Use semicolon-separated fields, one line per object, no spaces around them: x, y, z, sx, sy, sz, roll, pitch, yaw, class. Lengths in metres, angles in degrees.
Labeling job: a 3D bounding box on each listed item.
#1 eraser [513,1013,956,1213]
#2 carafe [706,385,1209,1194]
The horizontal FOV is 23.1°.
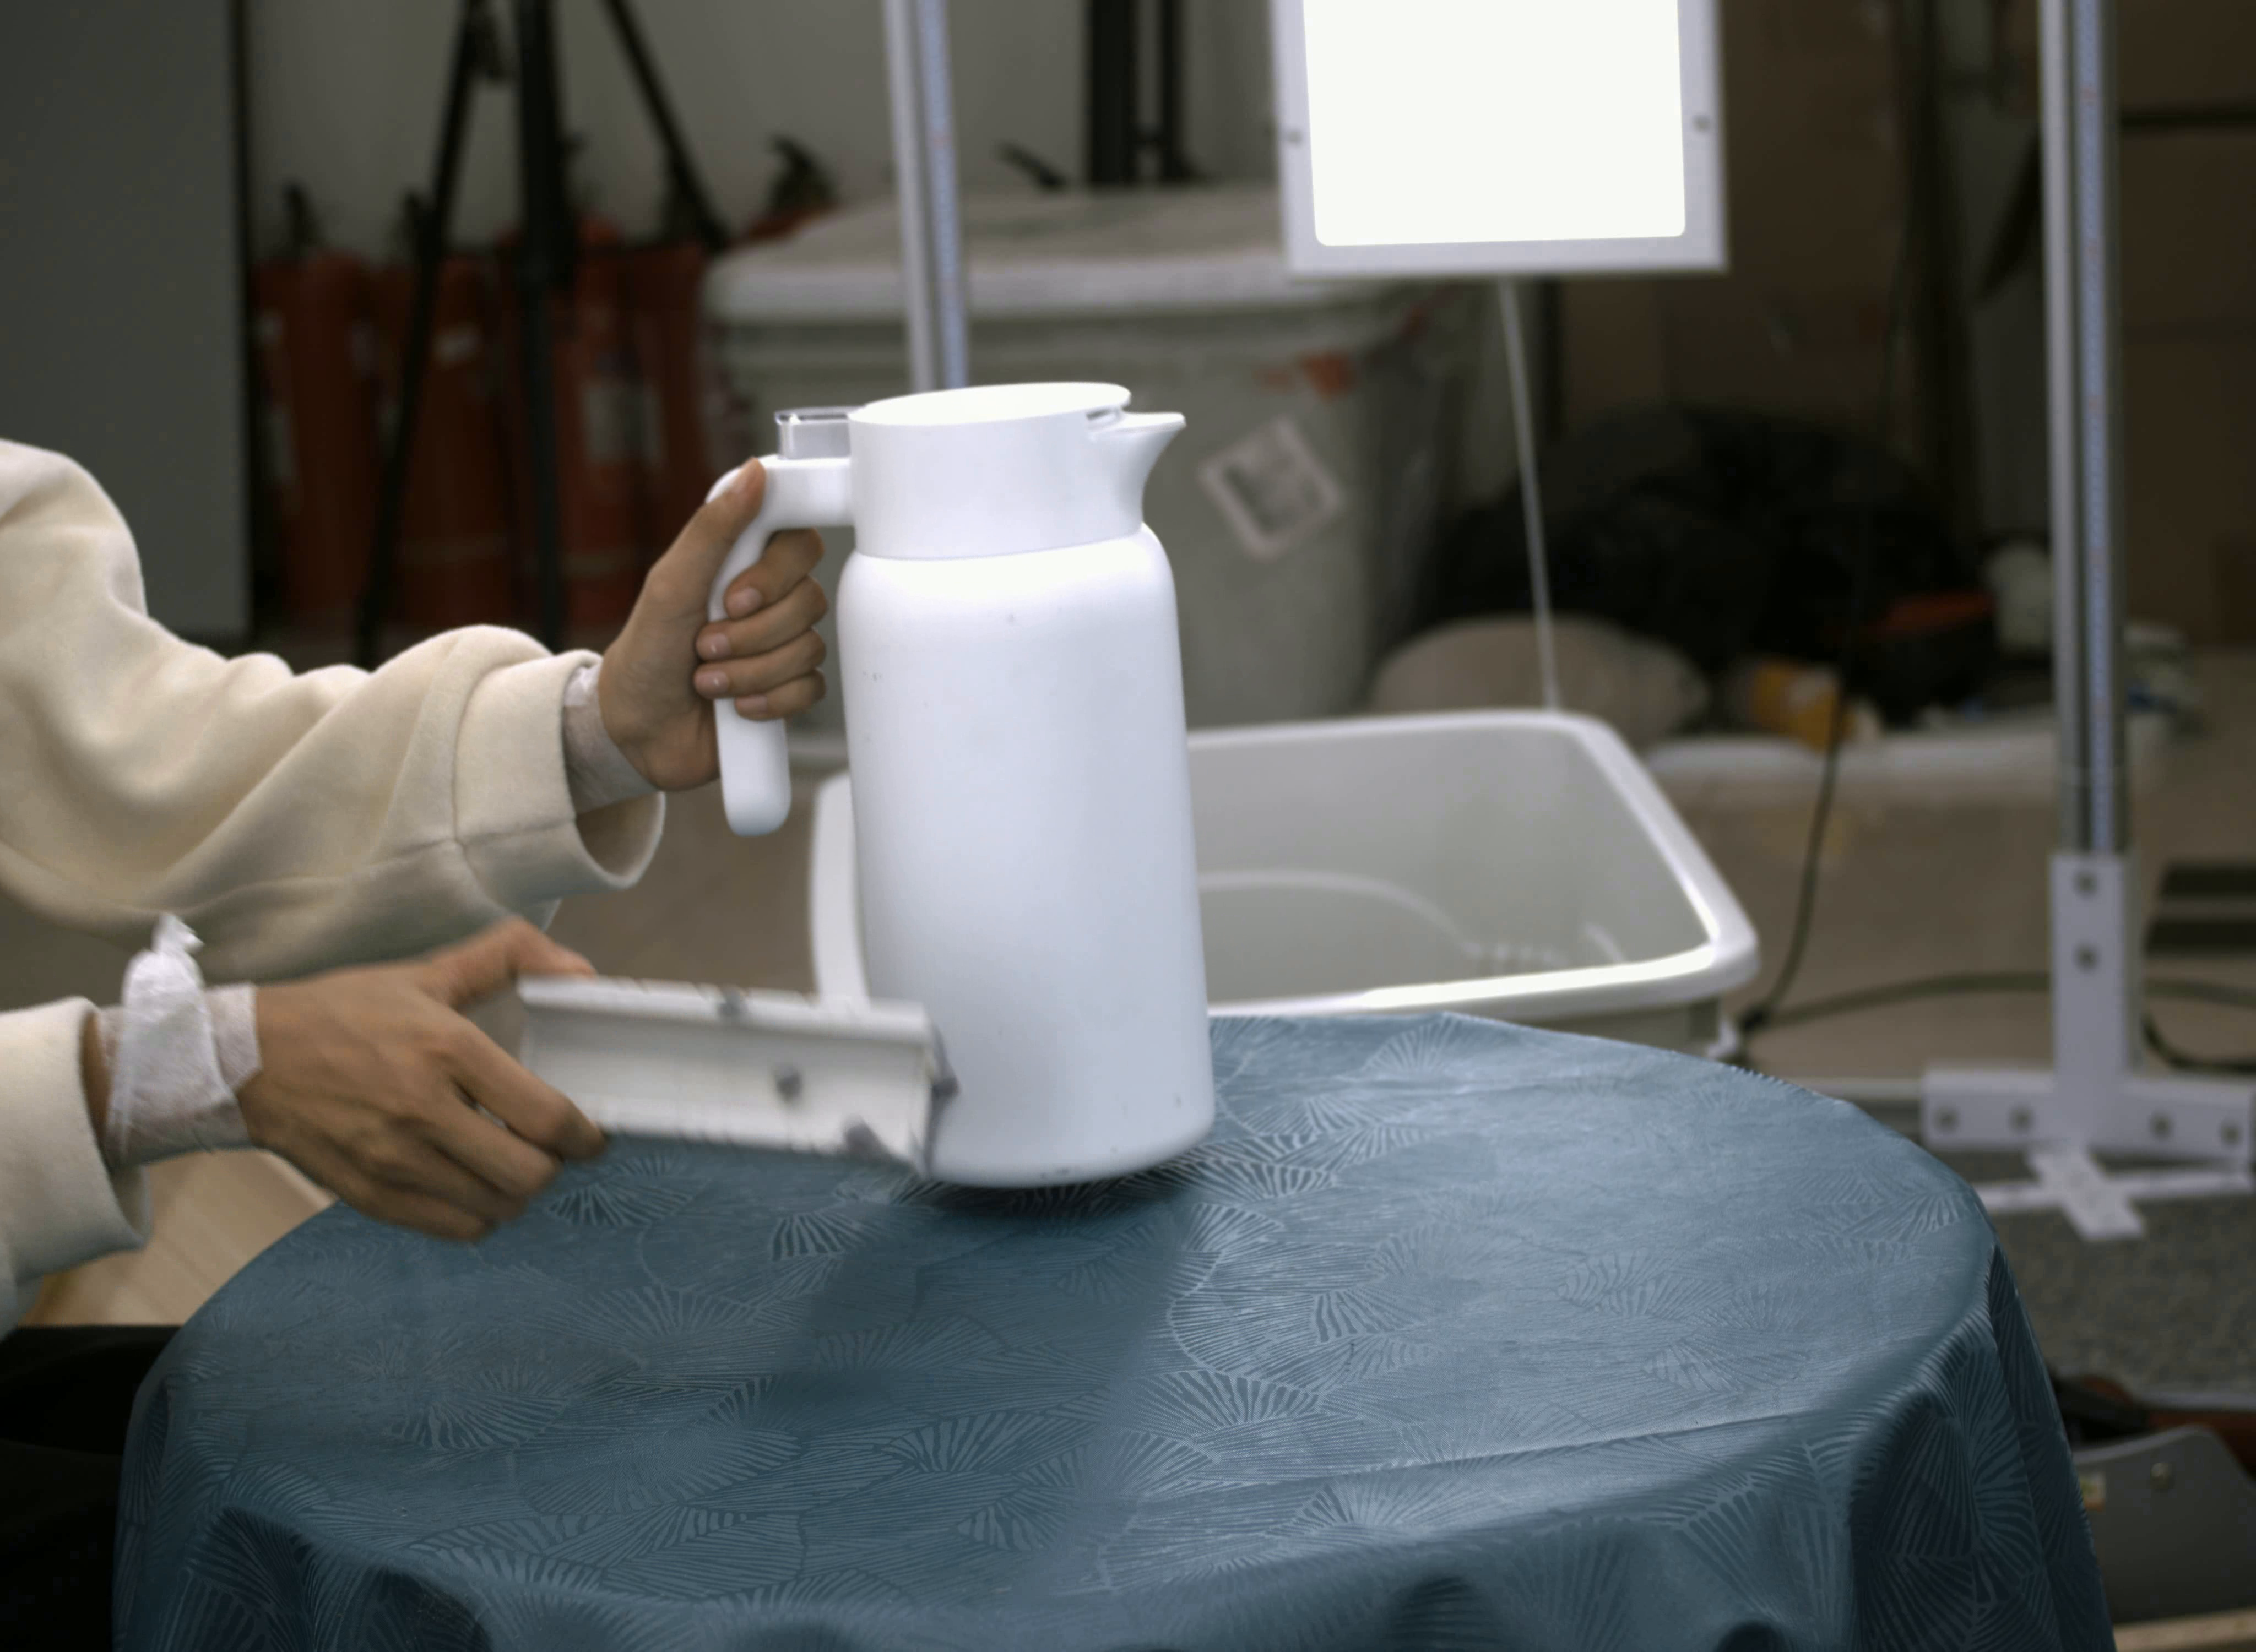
-0.124;0.092;1.755;0.135;0.049;0.046;3;-16;11;eraser
-0.054;-0.014;1.900;0.174;0.270;0.122;-1;14;15;carafe
